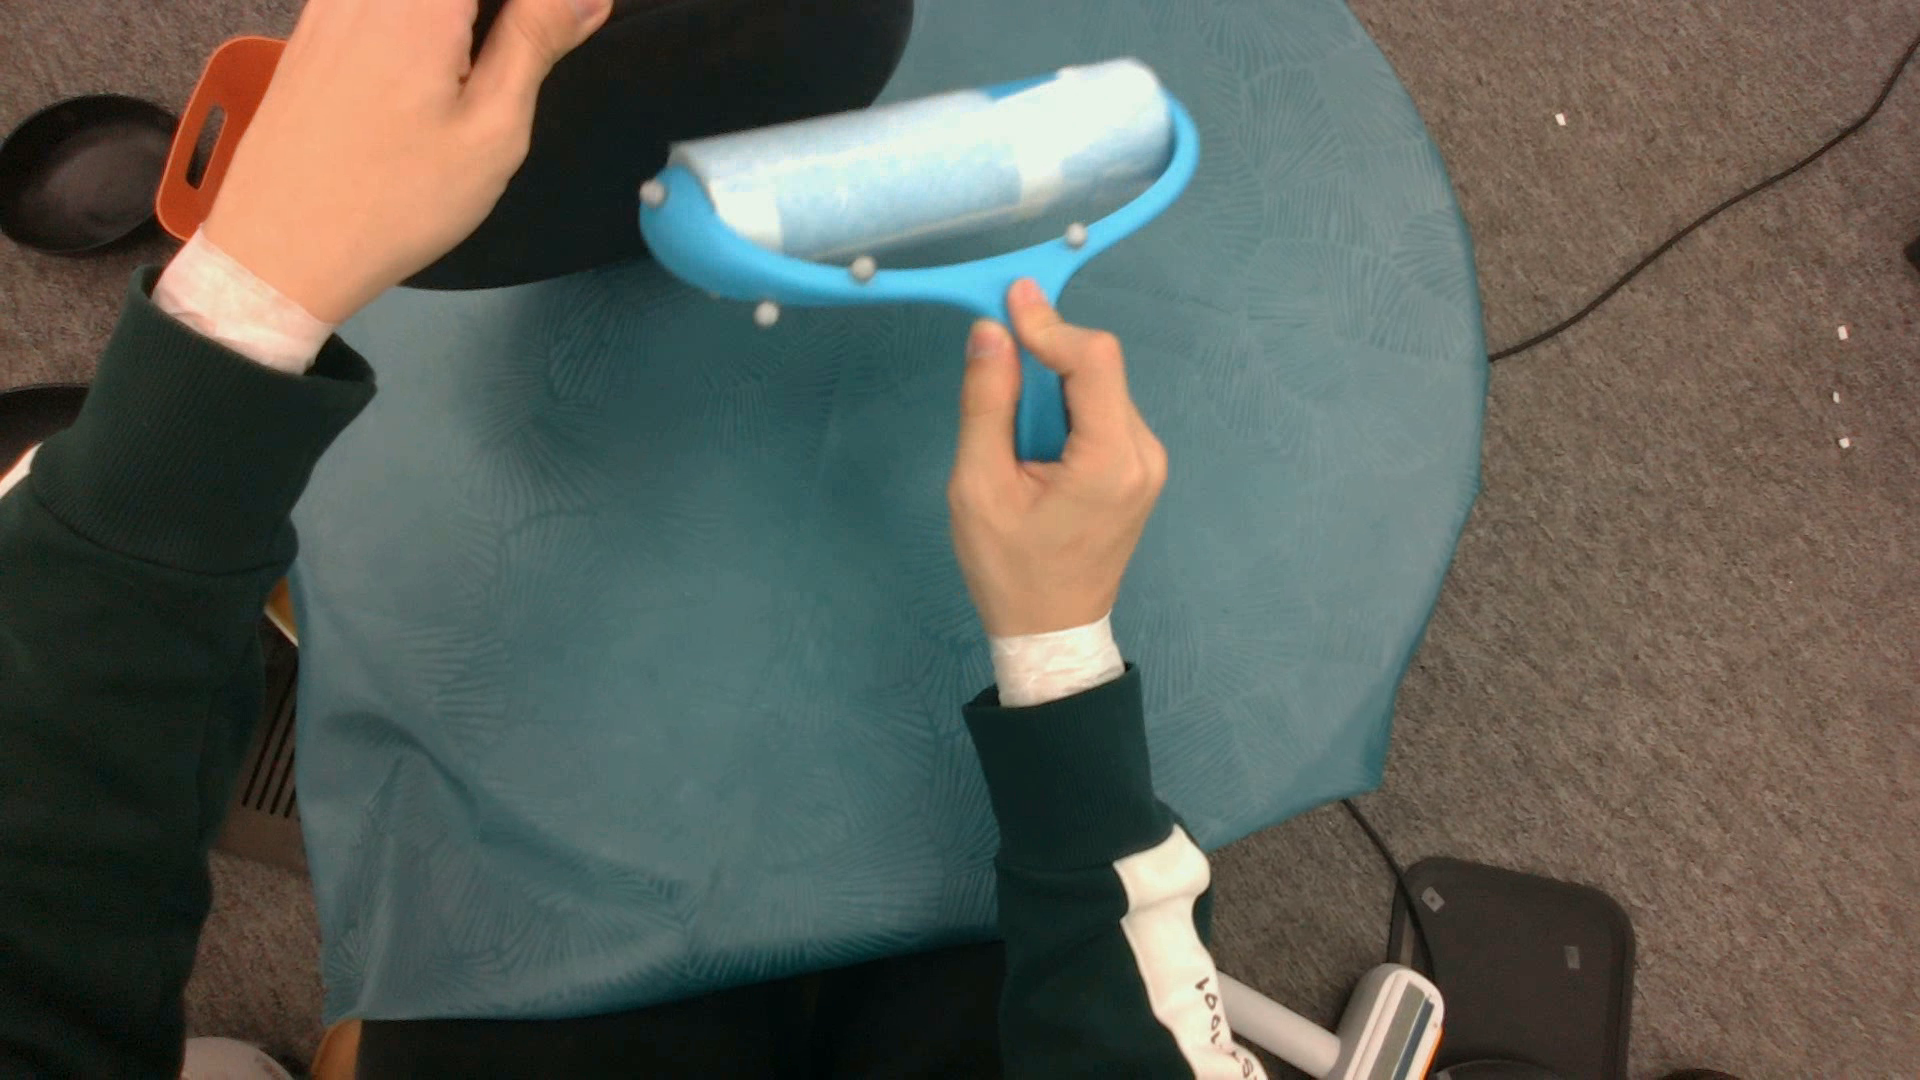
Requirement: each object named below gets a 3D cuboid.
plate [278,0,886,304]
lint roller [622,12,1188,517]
[{"bbox_3d":[-0.140,-0.162,0.548,0.255,0.254,0.029,-29,89,-11],"label":"plate"},{"bbox_3d":[0.007,-0.098,0.521,0.230,0.068,0.180,-24,94,-25],"label":"lint roller"}]
